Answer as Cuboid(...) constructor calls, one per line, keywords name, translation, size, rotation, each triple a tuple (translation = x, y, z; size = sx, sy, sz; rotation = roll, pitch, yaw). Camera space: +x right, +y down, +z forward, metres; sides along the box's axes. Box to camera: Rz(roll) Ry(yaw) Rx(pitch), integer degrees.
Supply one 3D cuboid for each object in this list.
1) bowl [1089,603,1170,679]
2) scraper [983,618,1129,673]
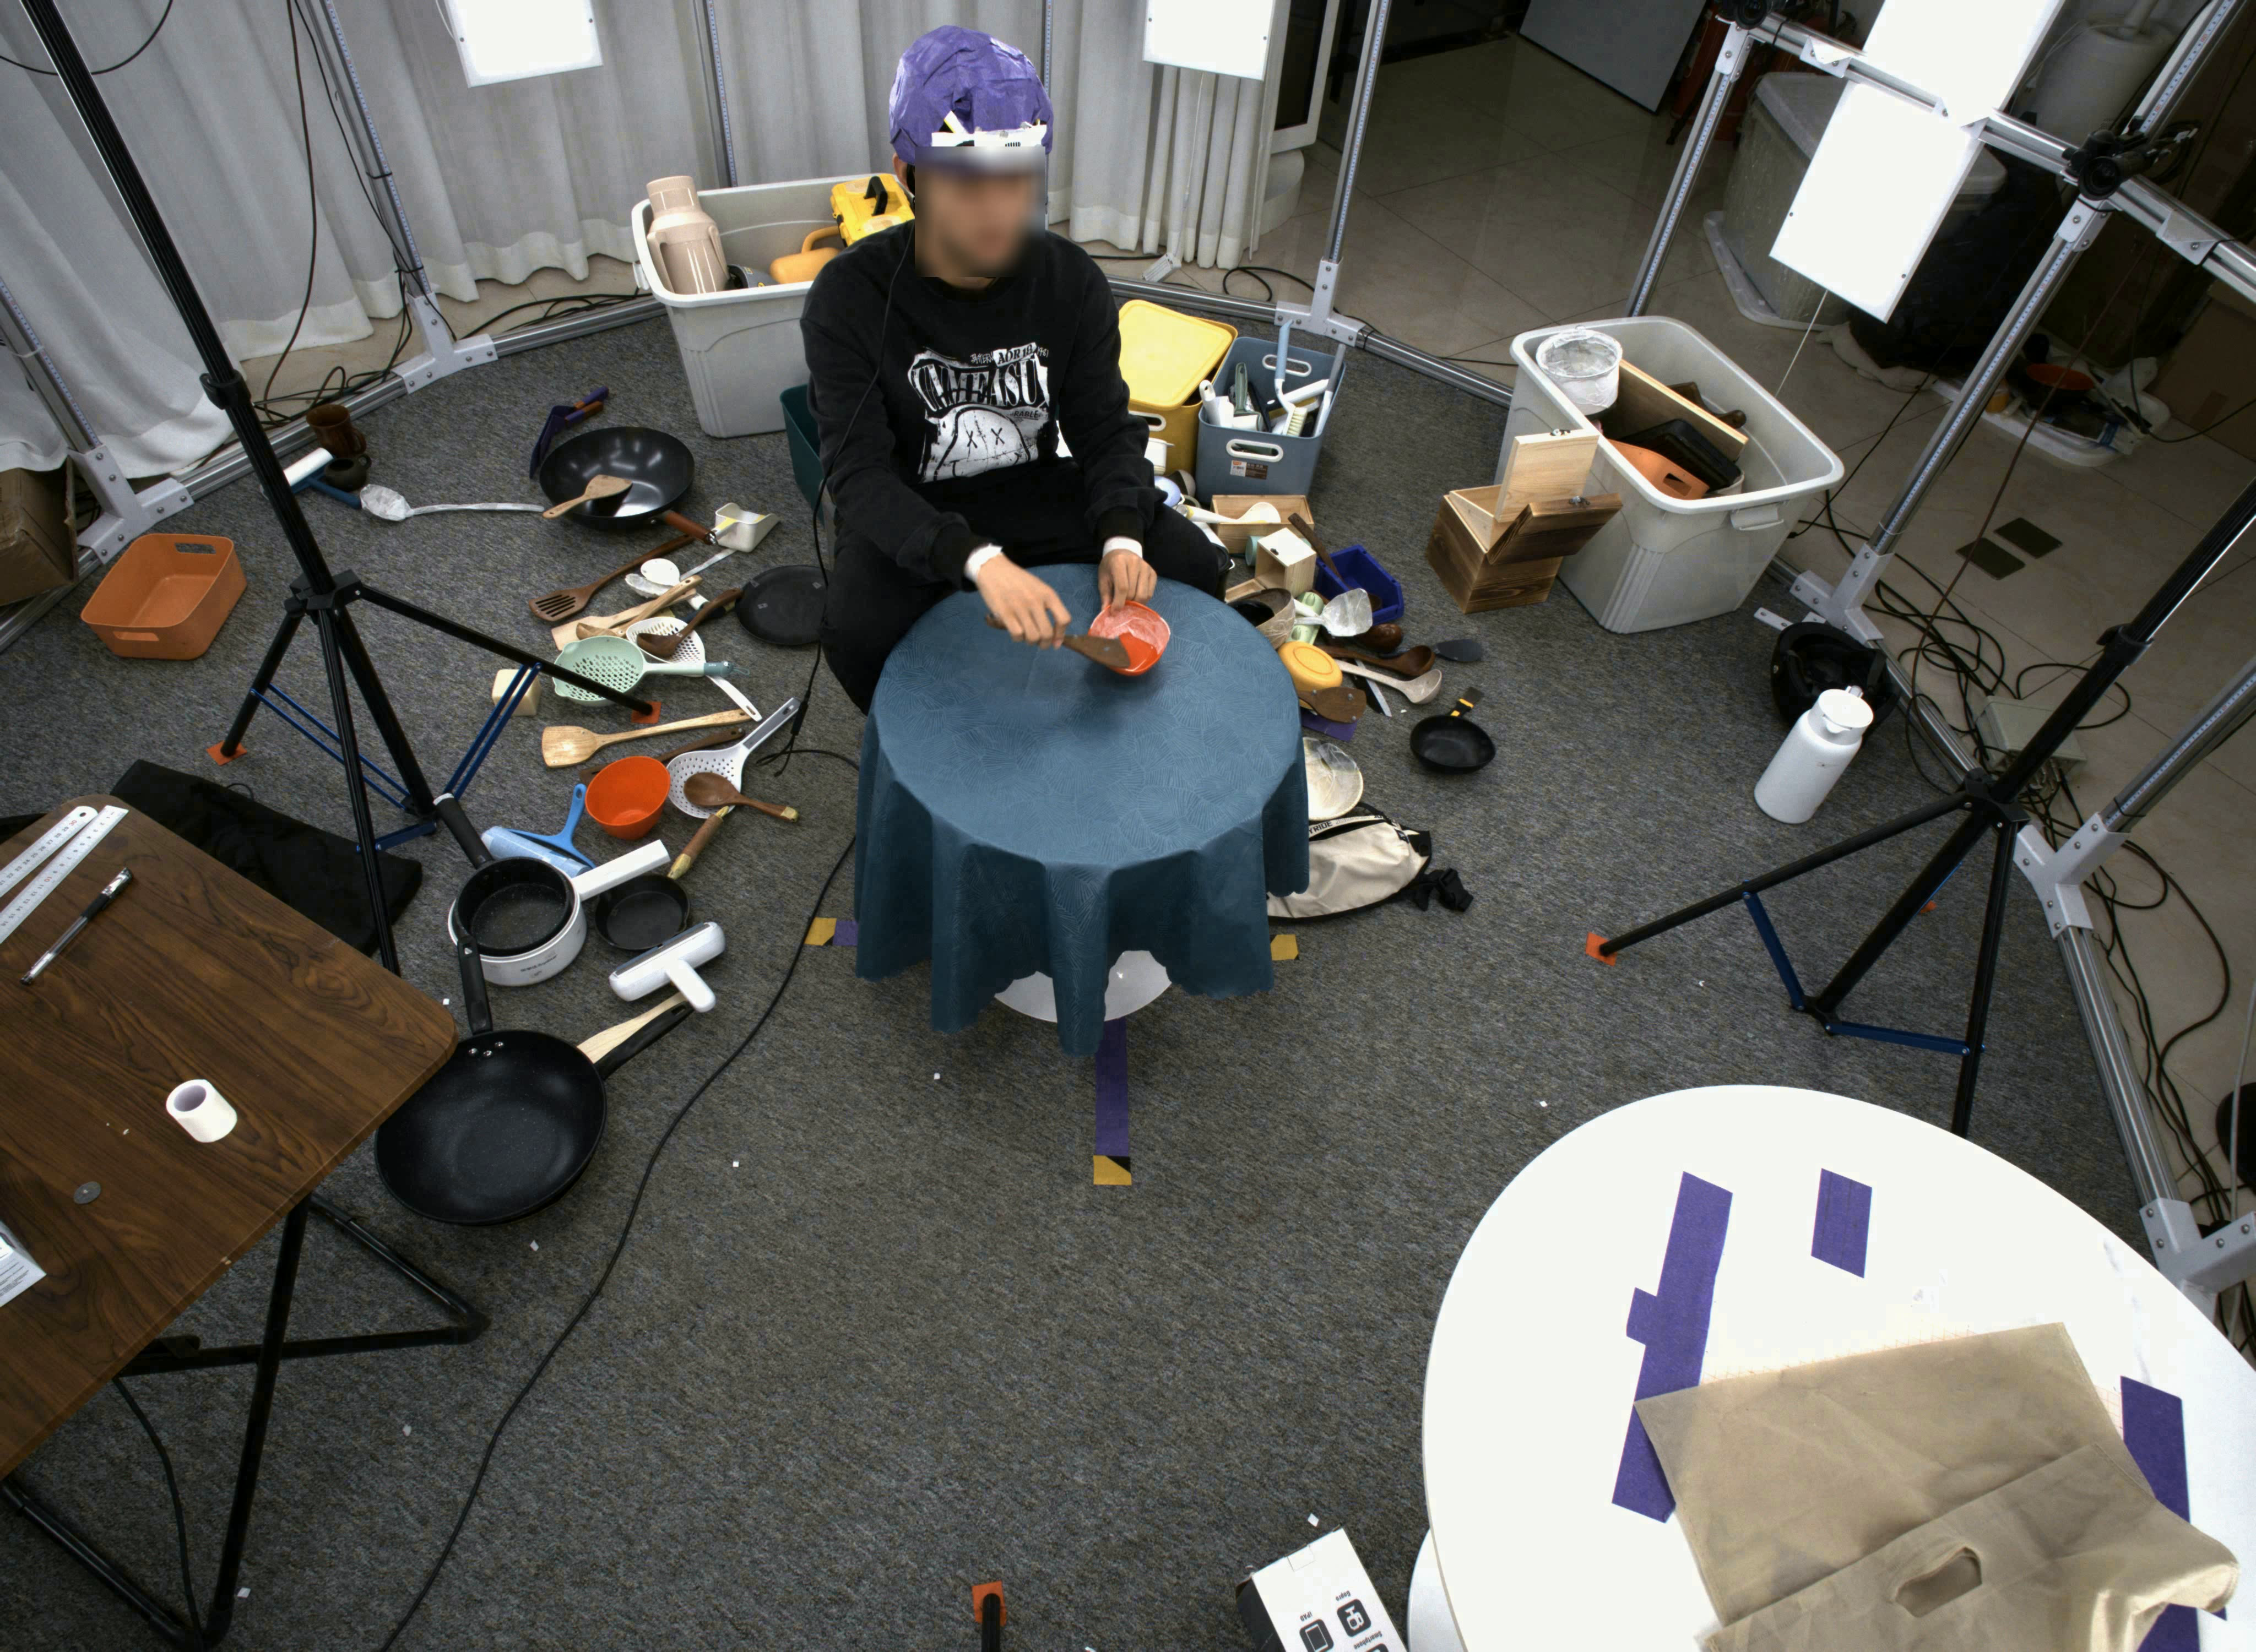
Cuboid(name="bowl", translation=(0.001, -0.261, 1.869), size=(0.119, 0.050, 0.121), rotation=(1, 66, -2))
Cuboid(name="scraper", translation=(-0.098, -0.251, 1.759), size=(0.210, 0.010, 0.078), rotation=(12, 34, -22))
